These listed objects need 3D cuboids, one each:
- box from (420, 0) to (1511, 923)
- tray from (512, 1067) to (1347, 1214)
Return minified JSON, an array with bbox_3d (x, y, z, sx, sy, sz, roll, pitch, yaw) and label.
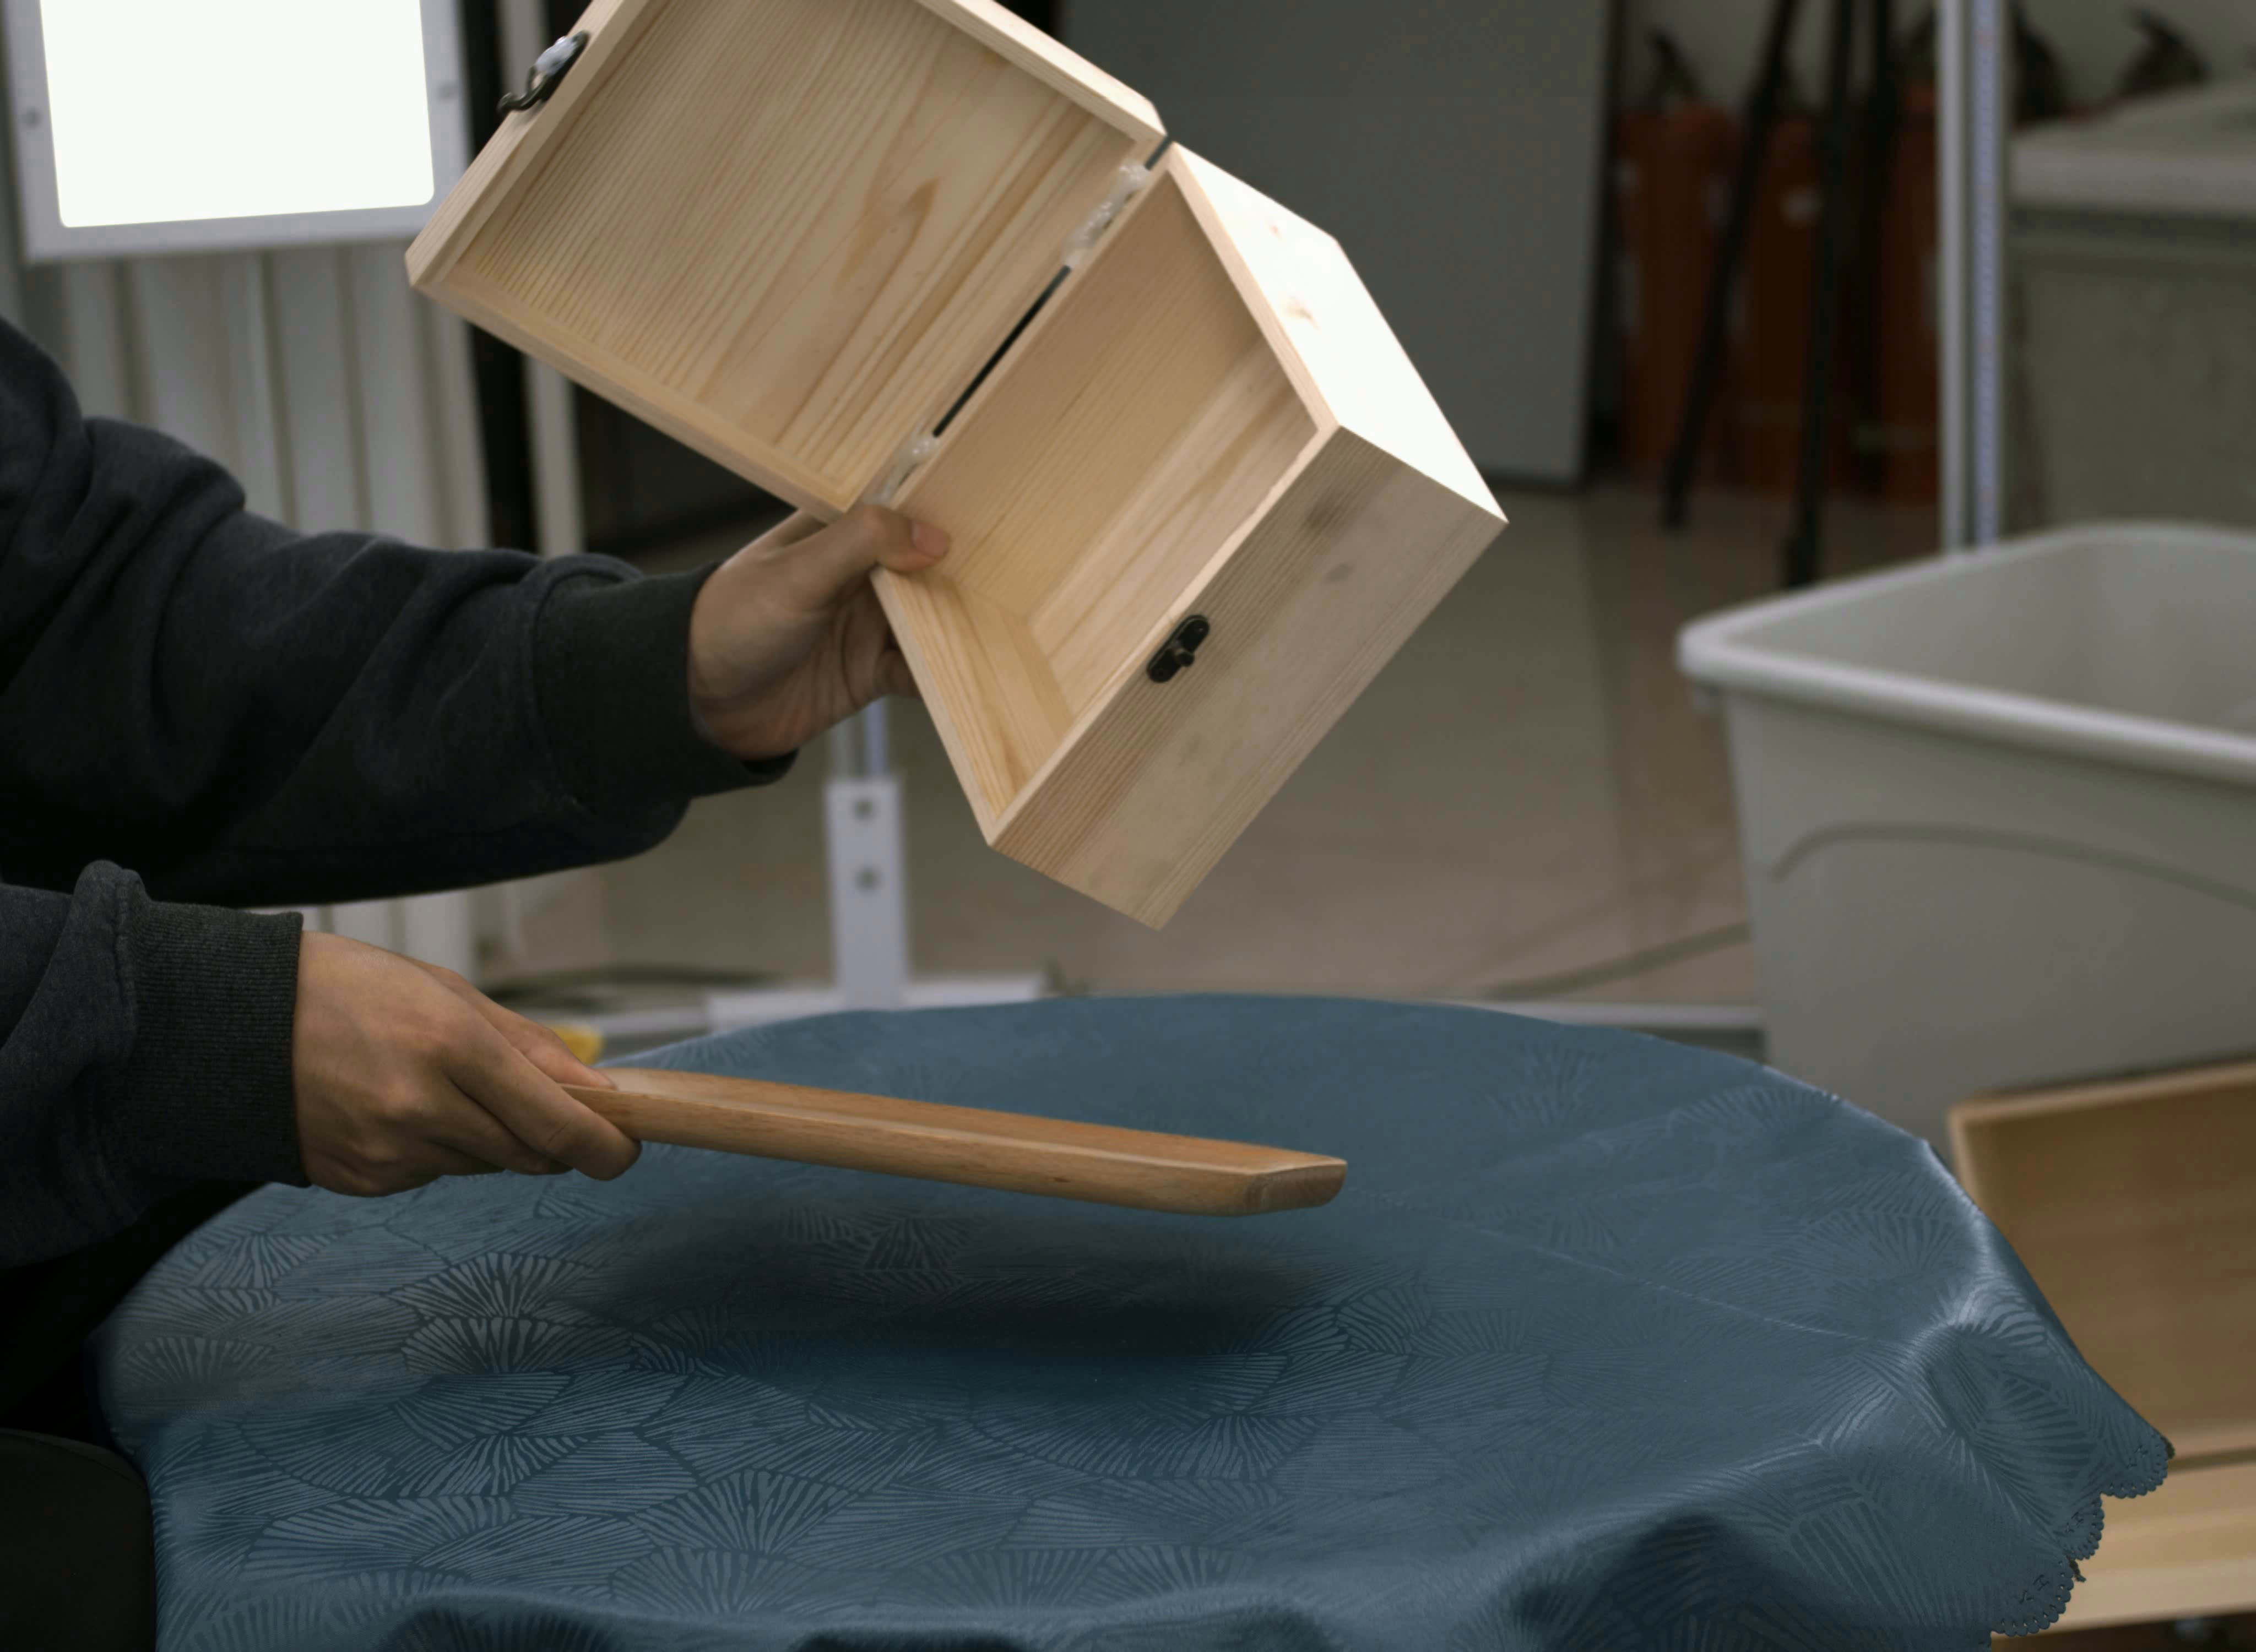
[{"bbox_3d":[-0.059,-0.151,1.740,0.248,0.183,0.268,26,22,-31],"label":"box"},{"bbox_3d":[-0.062,0.096,1.665,0.251,0.023,0.129,6,-3,23],"label":"tray"}]
